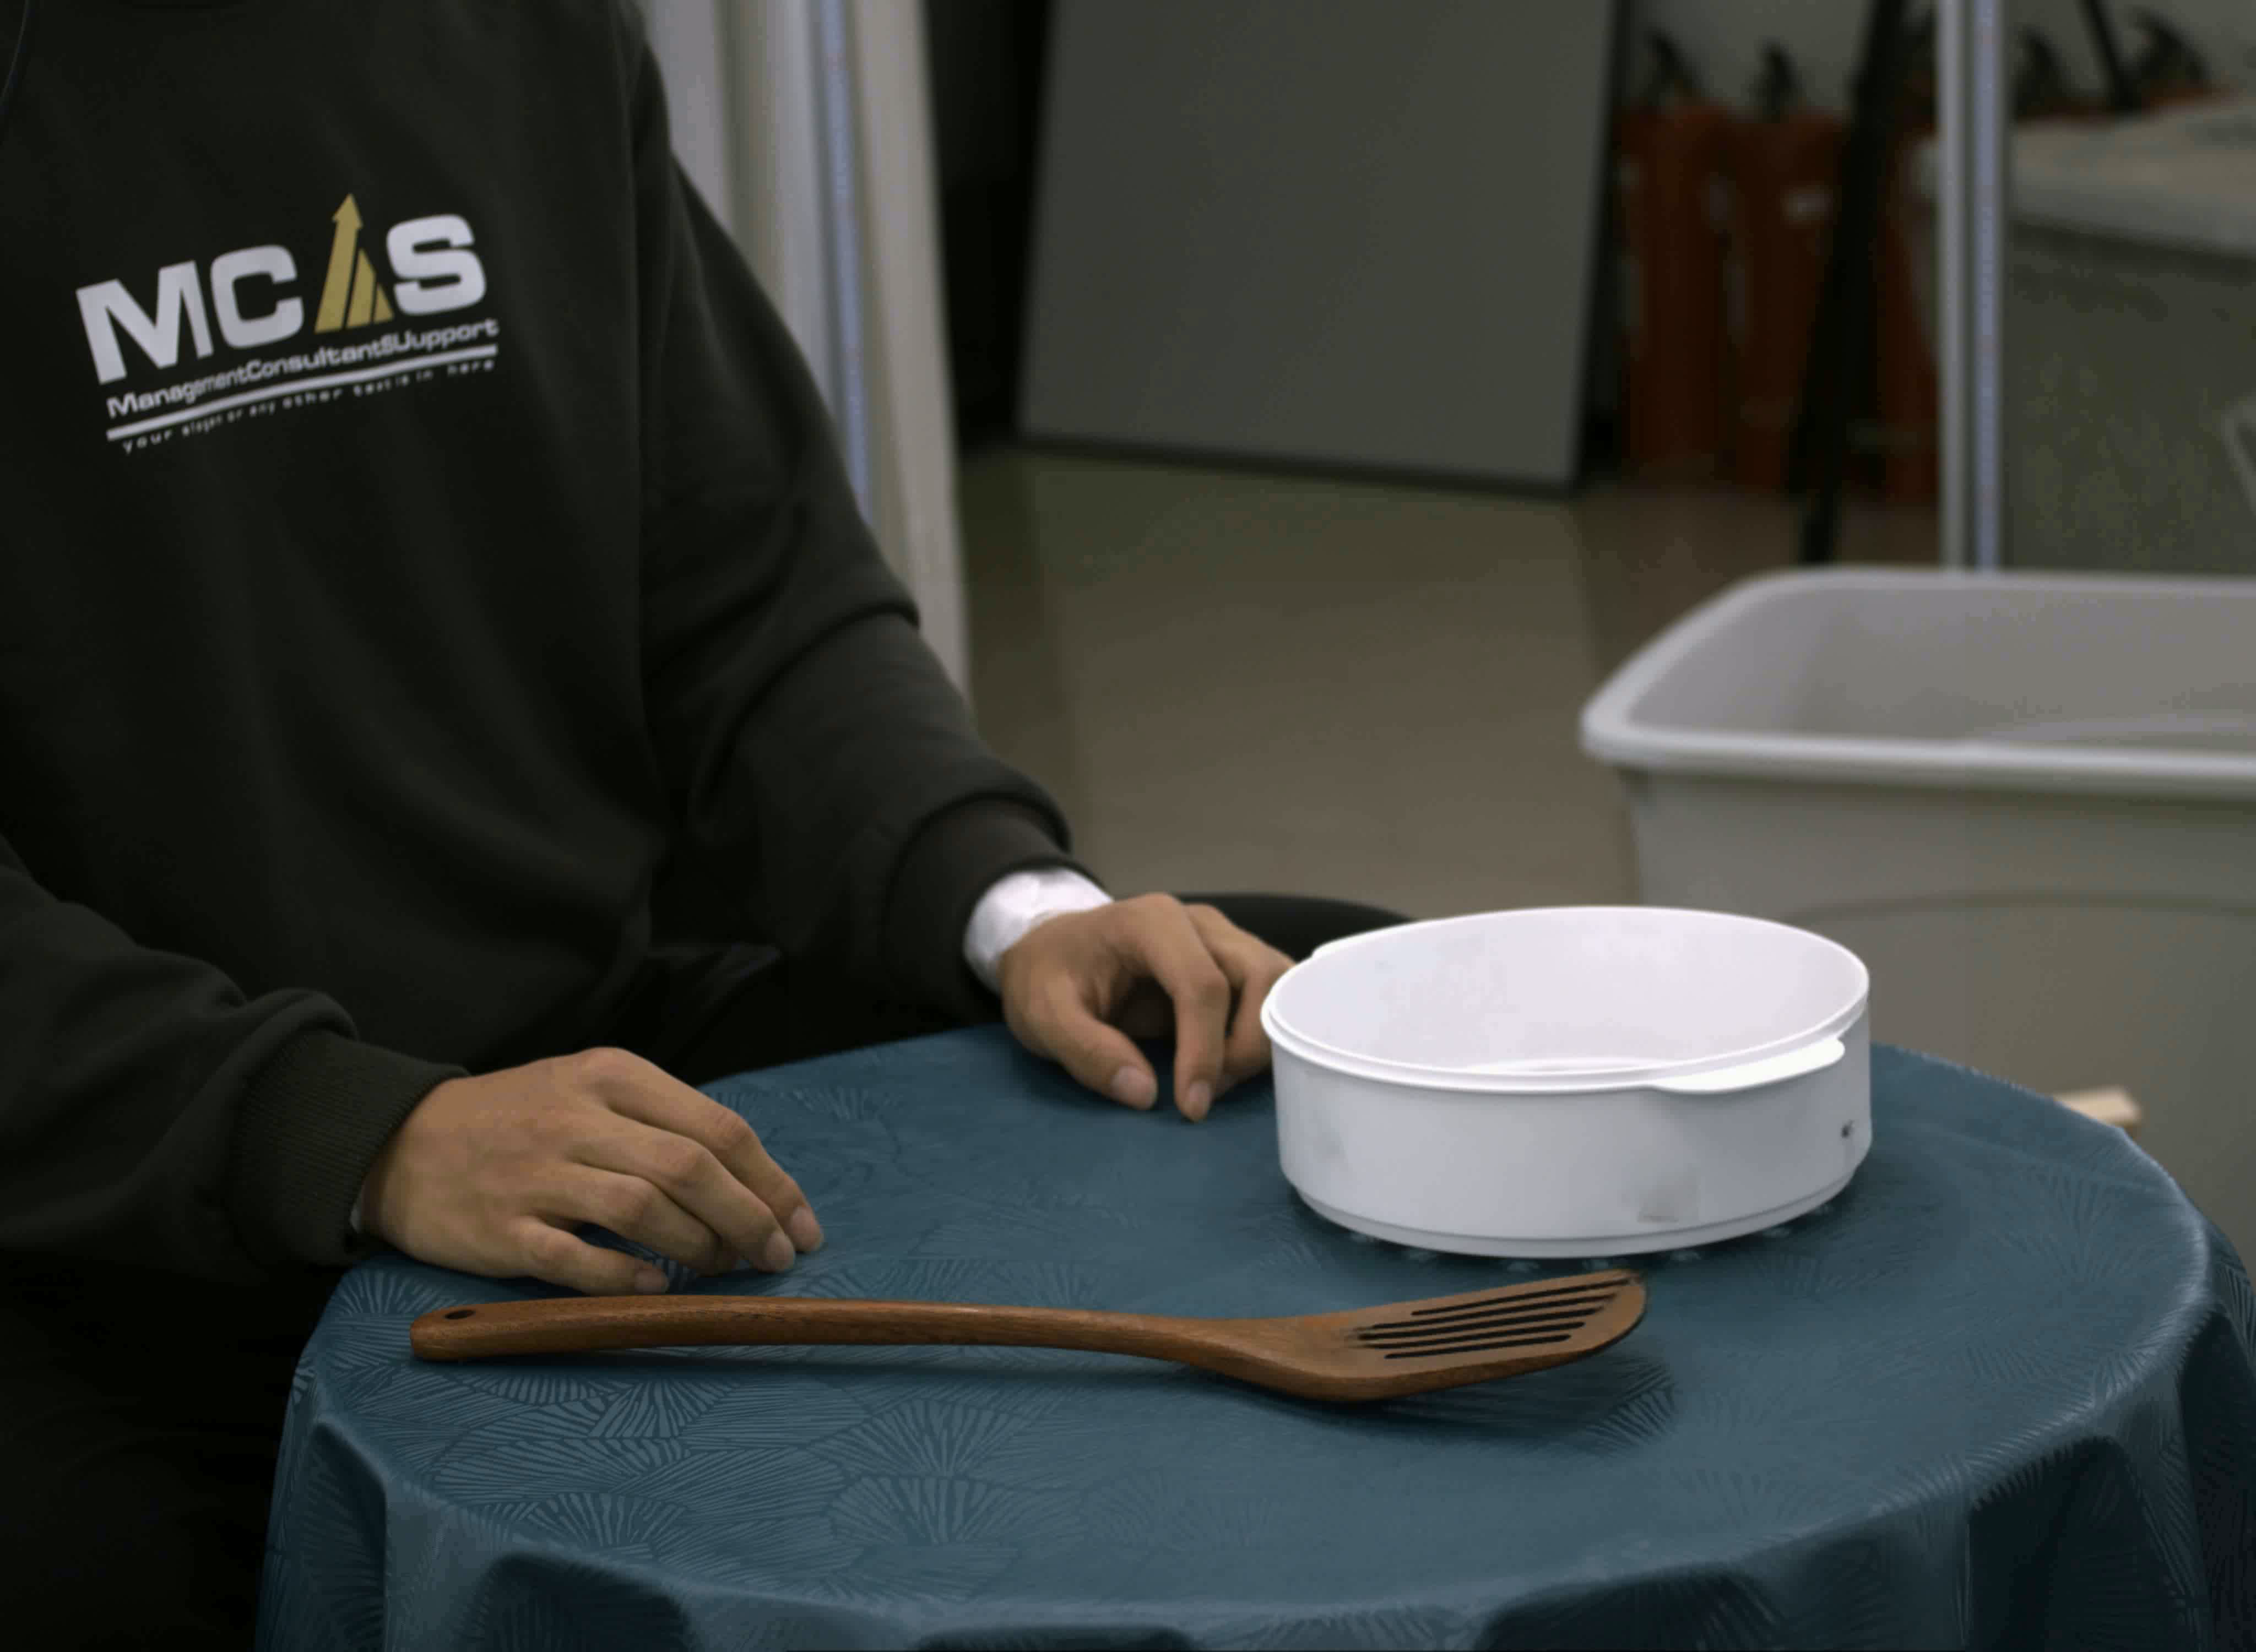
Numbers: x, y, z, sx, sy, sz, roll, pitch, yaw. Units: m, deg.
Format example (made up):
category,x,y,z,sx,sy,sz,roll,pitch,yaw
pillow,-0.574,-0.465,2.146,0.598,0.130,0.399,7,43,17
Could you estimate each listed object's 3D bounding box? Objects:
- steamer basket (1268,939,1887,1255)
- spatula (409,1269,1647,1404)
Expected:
category,x,y,z,sx,sy,sz,roll,pitch,yaw
steamer basket,0.146,0.087,1.739,0.197,0.070,0.233,-9,11,-29
spatula,-0.035,0.154,1.607,0.383,0.024,0.085,-1,11,16
